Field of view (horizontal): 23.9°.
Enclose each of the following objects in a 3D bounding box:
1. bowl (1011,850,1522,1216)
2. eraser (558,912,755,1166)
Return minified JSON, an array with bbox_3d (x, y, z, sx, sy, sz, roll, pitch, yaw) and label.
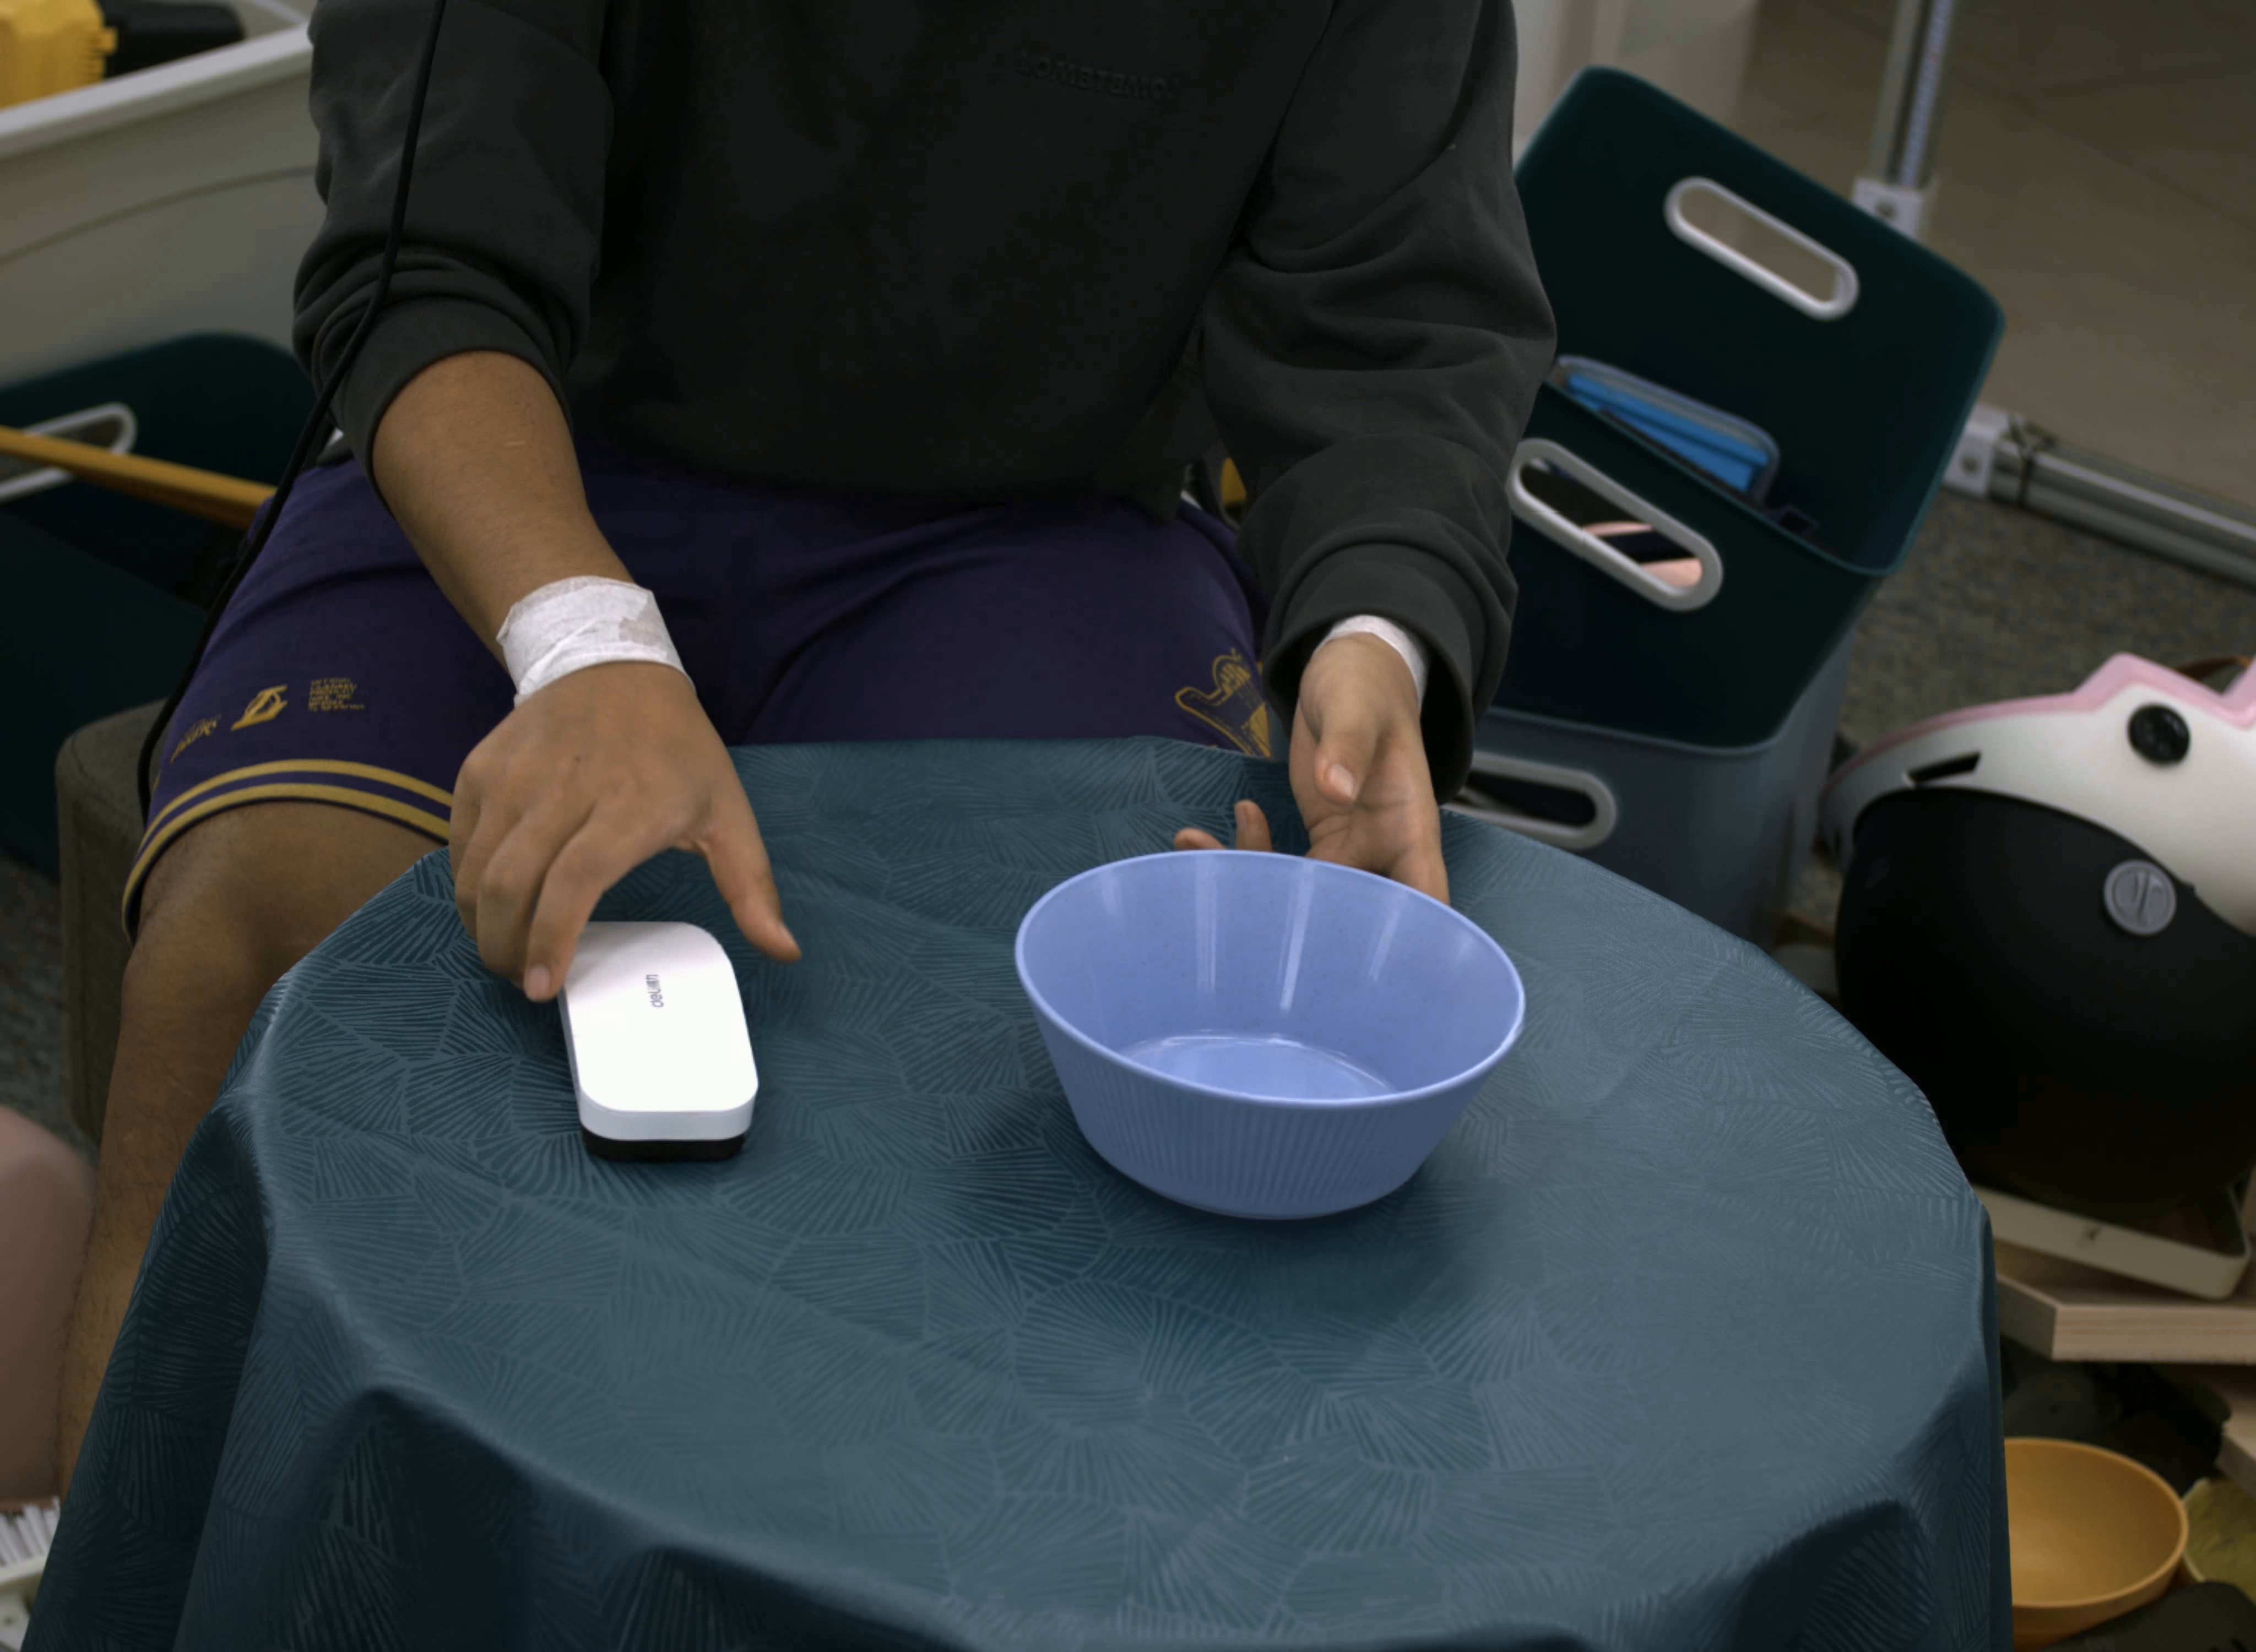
[{"bbox_3d":[0.044,0.077,1.825,0.175,0.070,0.177,6,27,-3],"label":"bowl"},{"bbox_3d":[-0.163,0.070,1.835,0.063,0.034,0.132,3,29,-11],"label":"eraser"}]
